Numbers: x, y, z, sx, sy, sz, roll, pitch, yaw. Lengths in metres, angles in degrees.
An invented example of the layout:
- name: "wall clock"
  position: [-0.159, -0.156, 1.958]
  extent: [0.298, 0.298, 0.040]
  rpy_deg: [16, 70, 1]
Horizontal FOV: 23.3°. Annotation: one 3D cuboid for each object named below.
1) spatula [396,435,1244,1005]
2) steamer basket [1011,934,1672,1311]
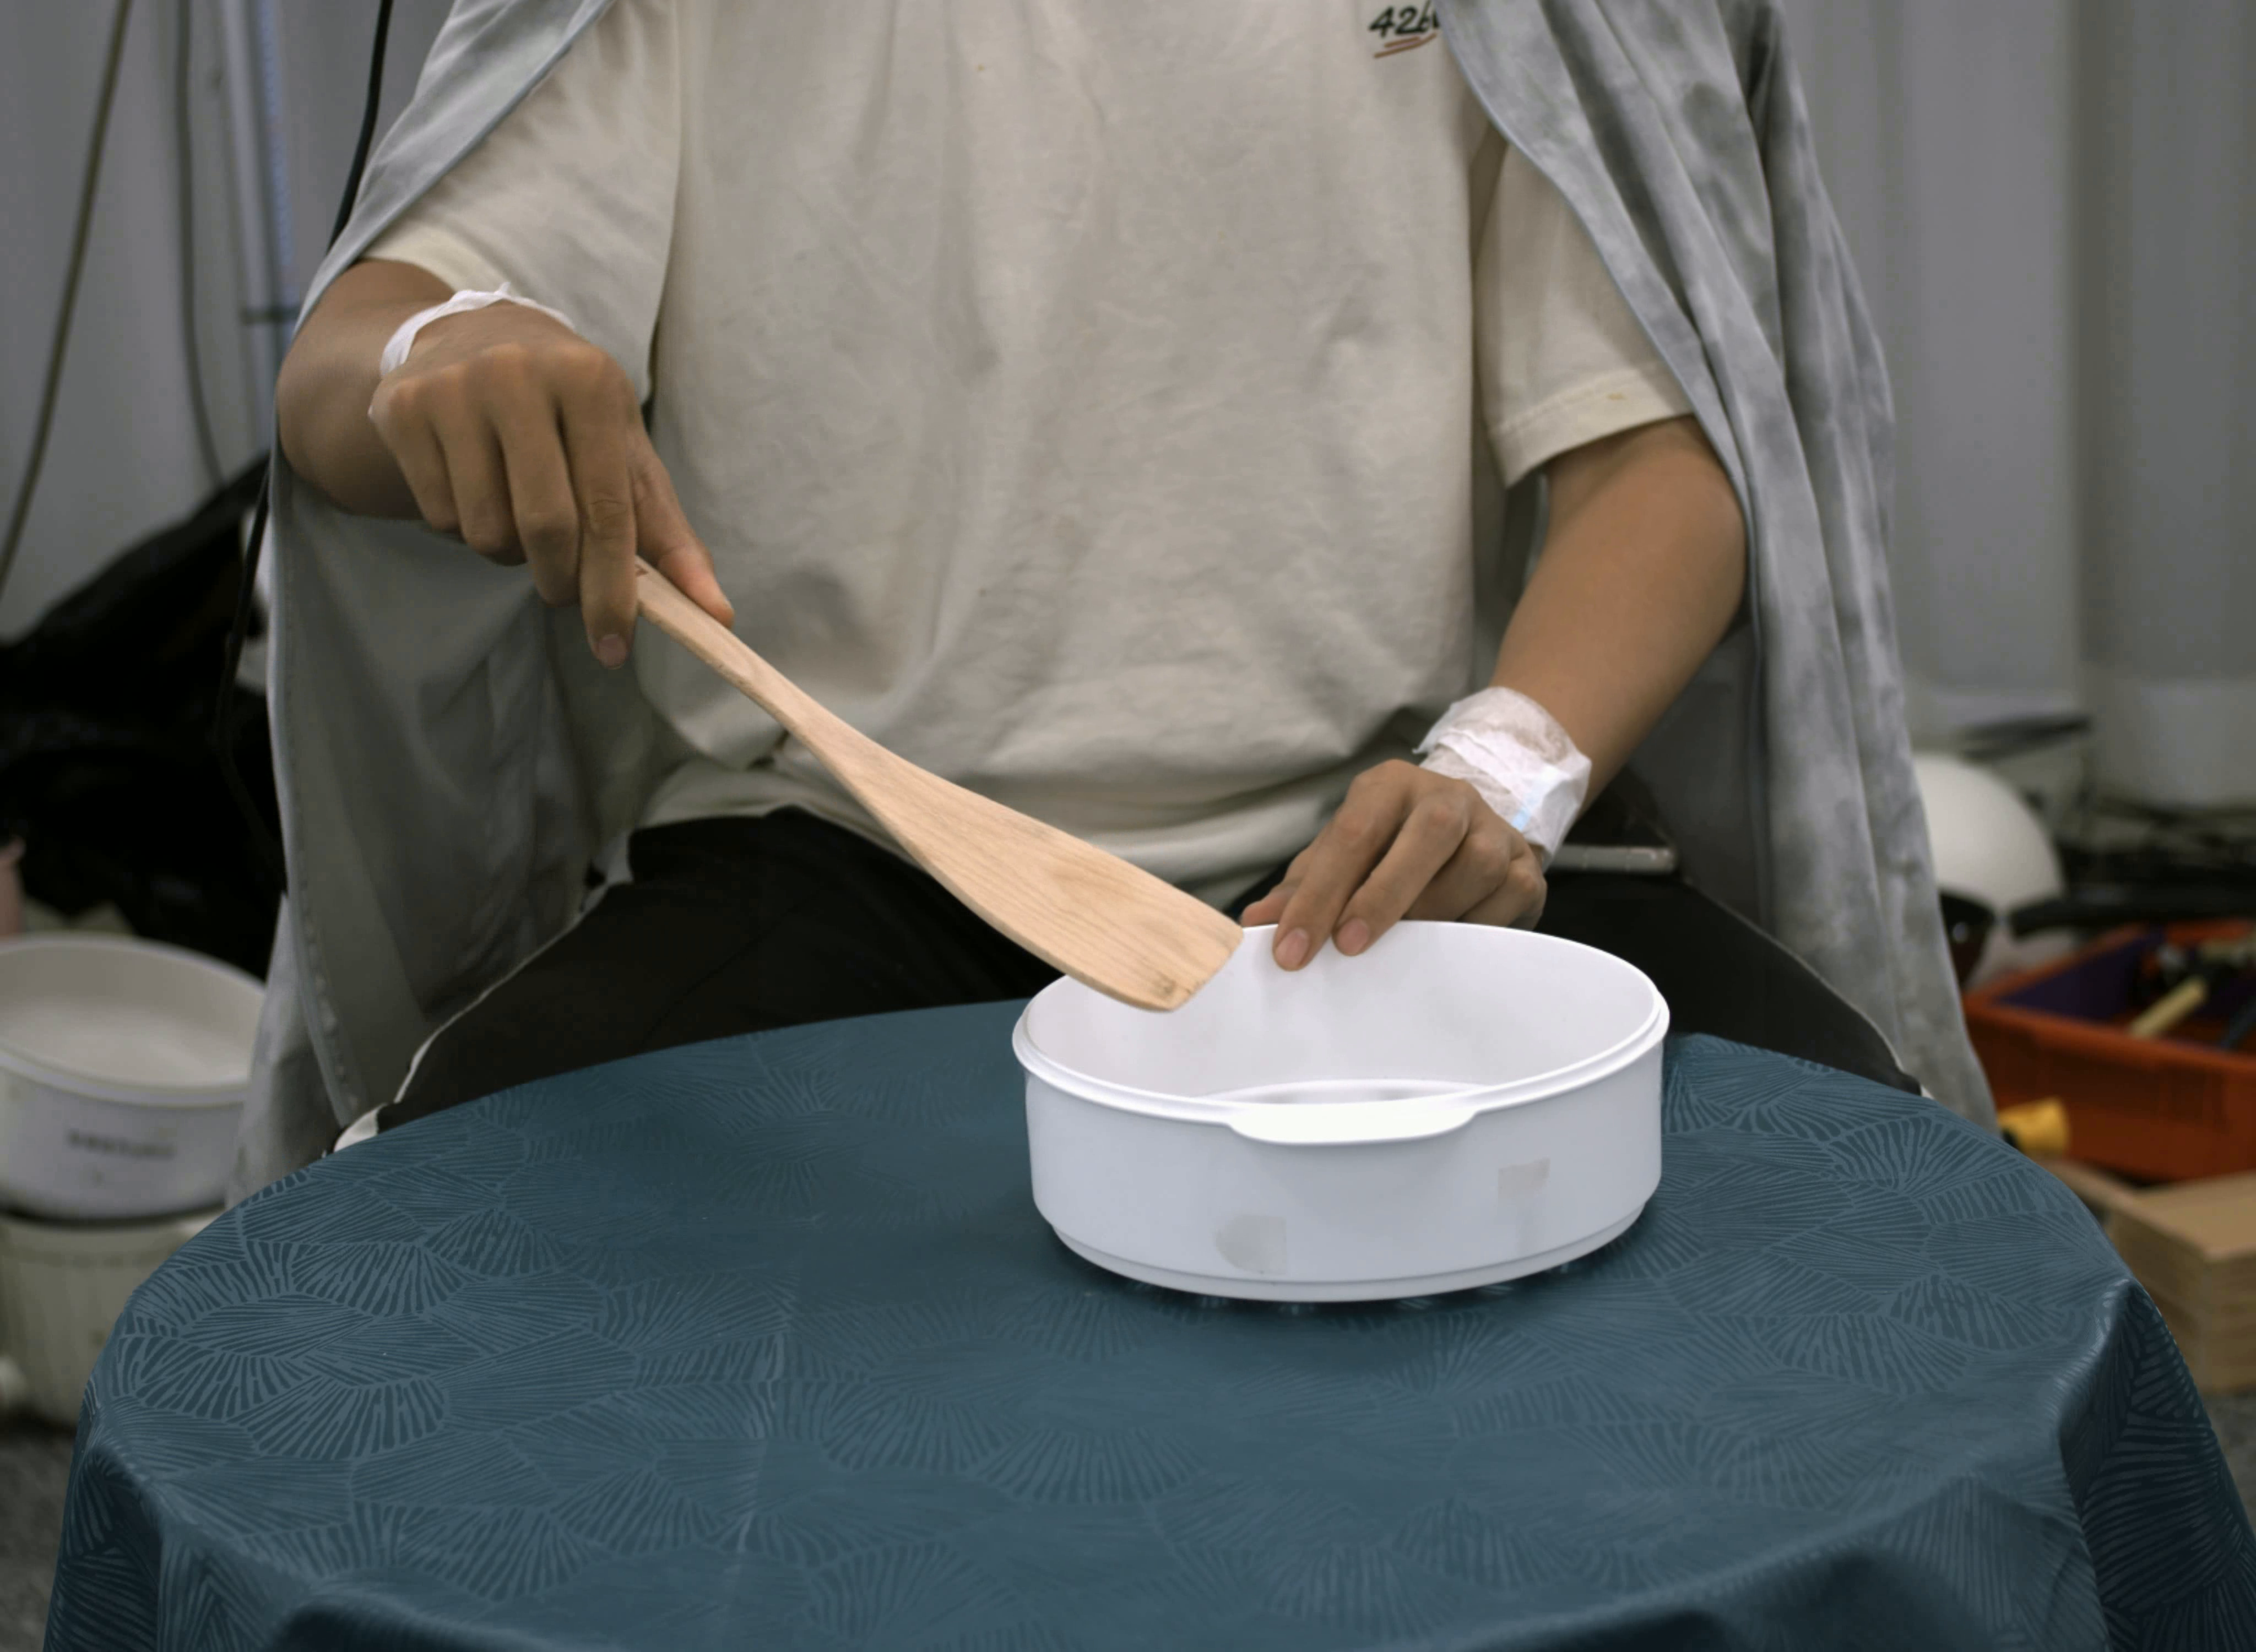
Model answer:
- name: "spatula"
  position: [-0.100, -0.038, 1.696]
  extent: [0.329, 0.016, 0.080]
  rpy_deg: [35, 28, 19]
- name: "steamer basket"
  position: [0.066, 0.090, 1.673]
  extent: [0.201, 0.069, 0.232]
  rpy_deg: [-1, 14, 1]
